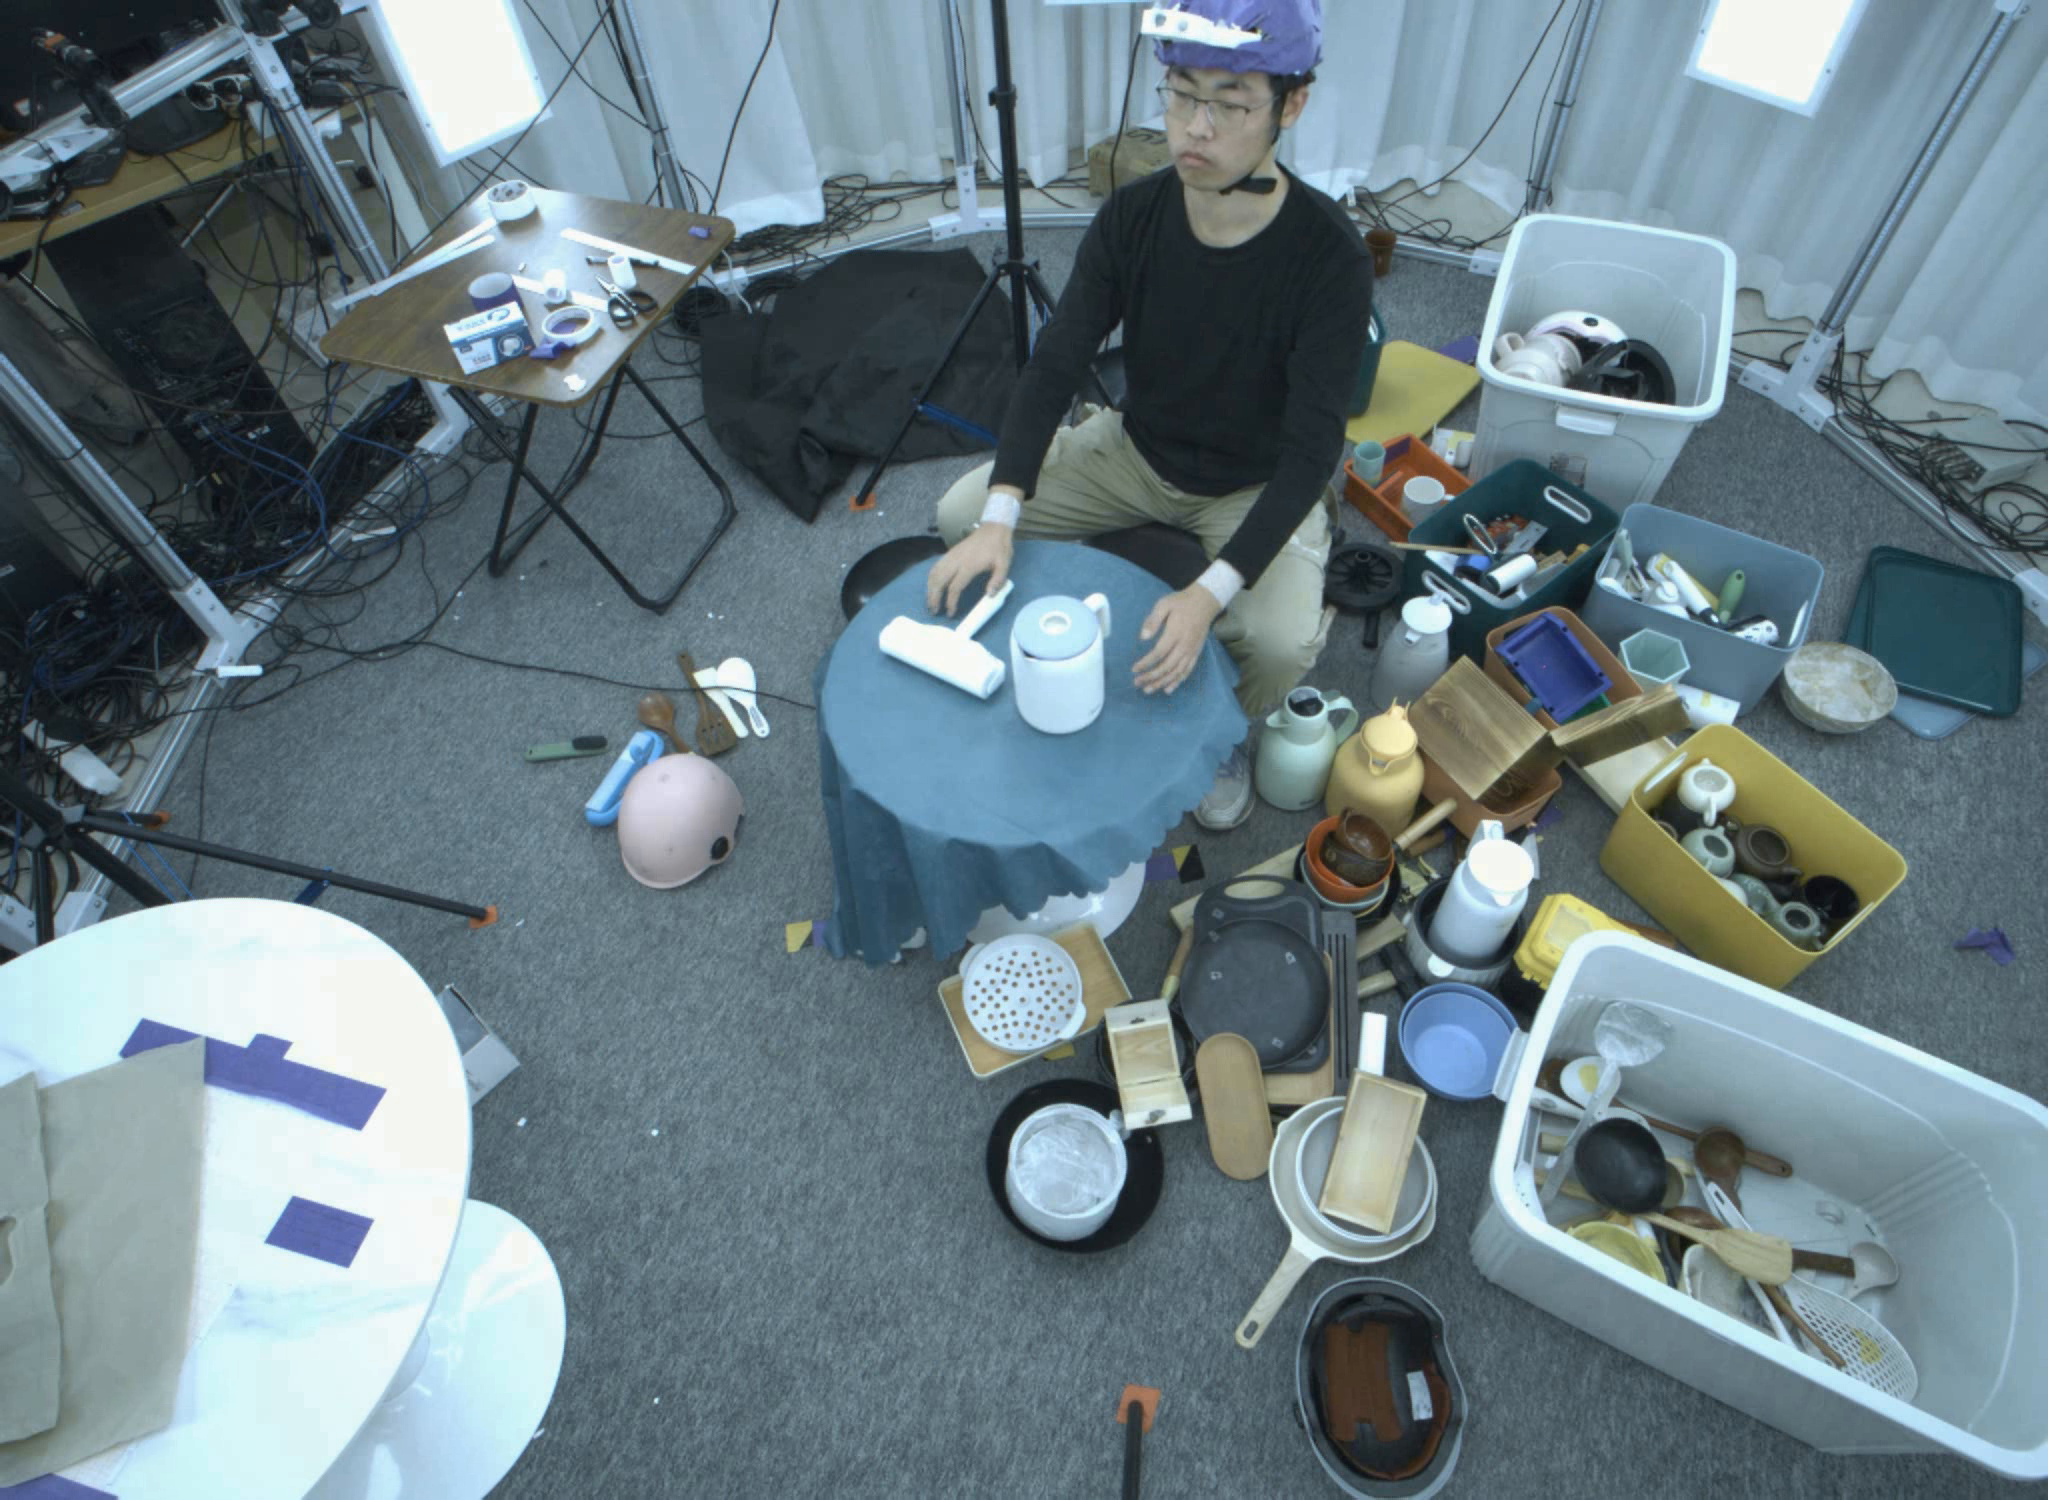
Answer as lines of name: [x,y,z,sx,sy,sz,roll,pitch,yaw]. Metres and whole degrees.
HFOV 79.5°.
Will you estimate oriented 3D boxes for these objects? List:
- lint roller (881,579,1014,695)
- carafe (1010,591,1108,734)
lint roller: [-0.082,-0.199,1.905,0.200,0.049,0.226,25,58,20]
carafe: [0.063,-0.138,1.778,0.130,0.184,0.192,30,60,22]
